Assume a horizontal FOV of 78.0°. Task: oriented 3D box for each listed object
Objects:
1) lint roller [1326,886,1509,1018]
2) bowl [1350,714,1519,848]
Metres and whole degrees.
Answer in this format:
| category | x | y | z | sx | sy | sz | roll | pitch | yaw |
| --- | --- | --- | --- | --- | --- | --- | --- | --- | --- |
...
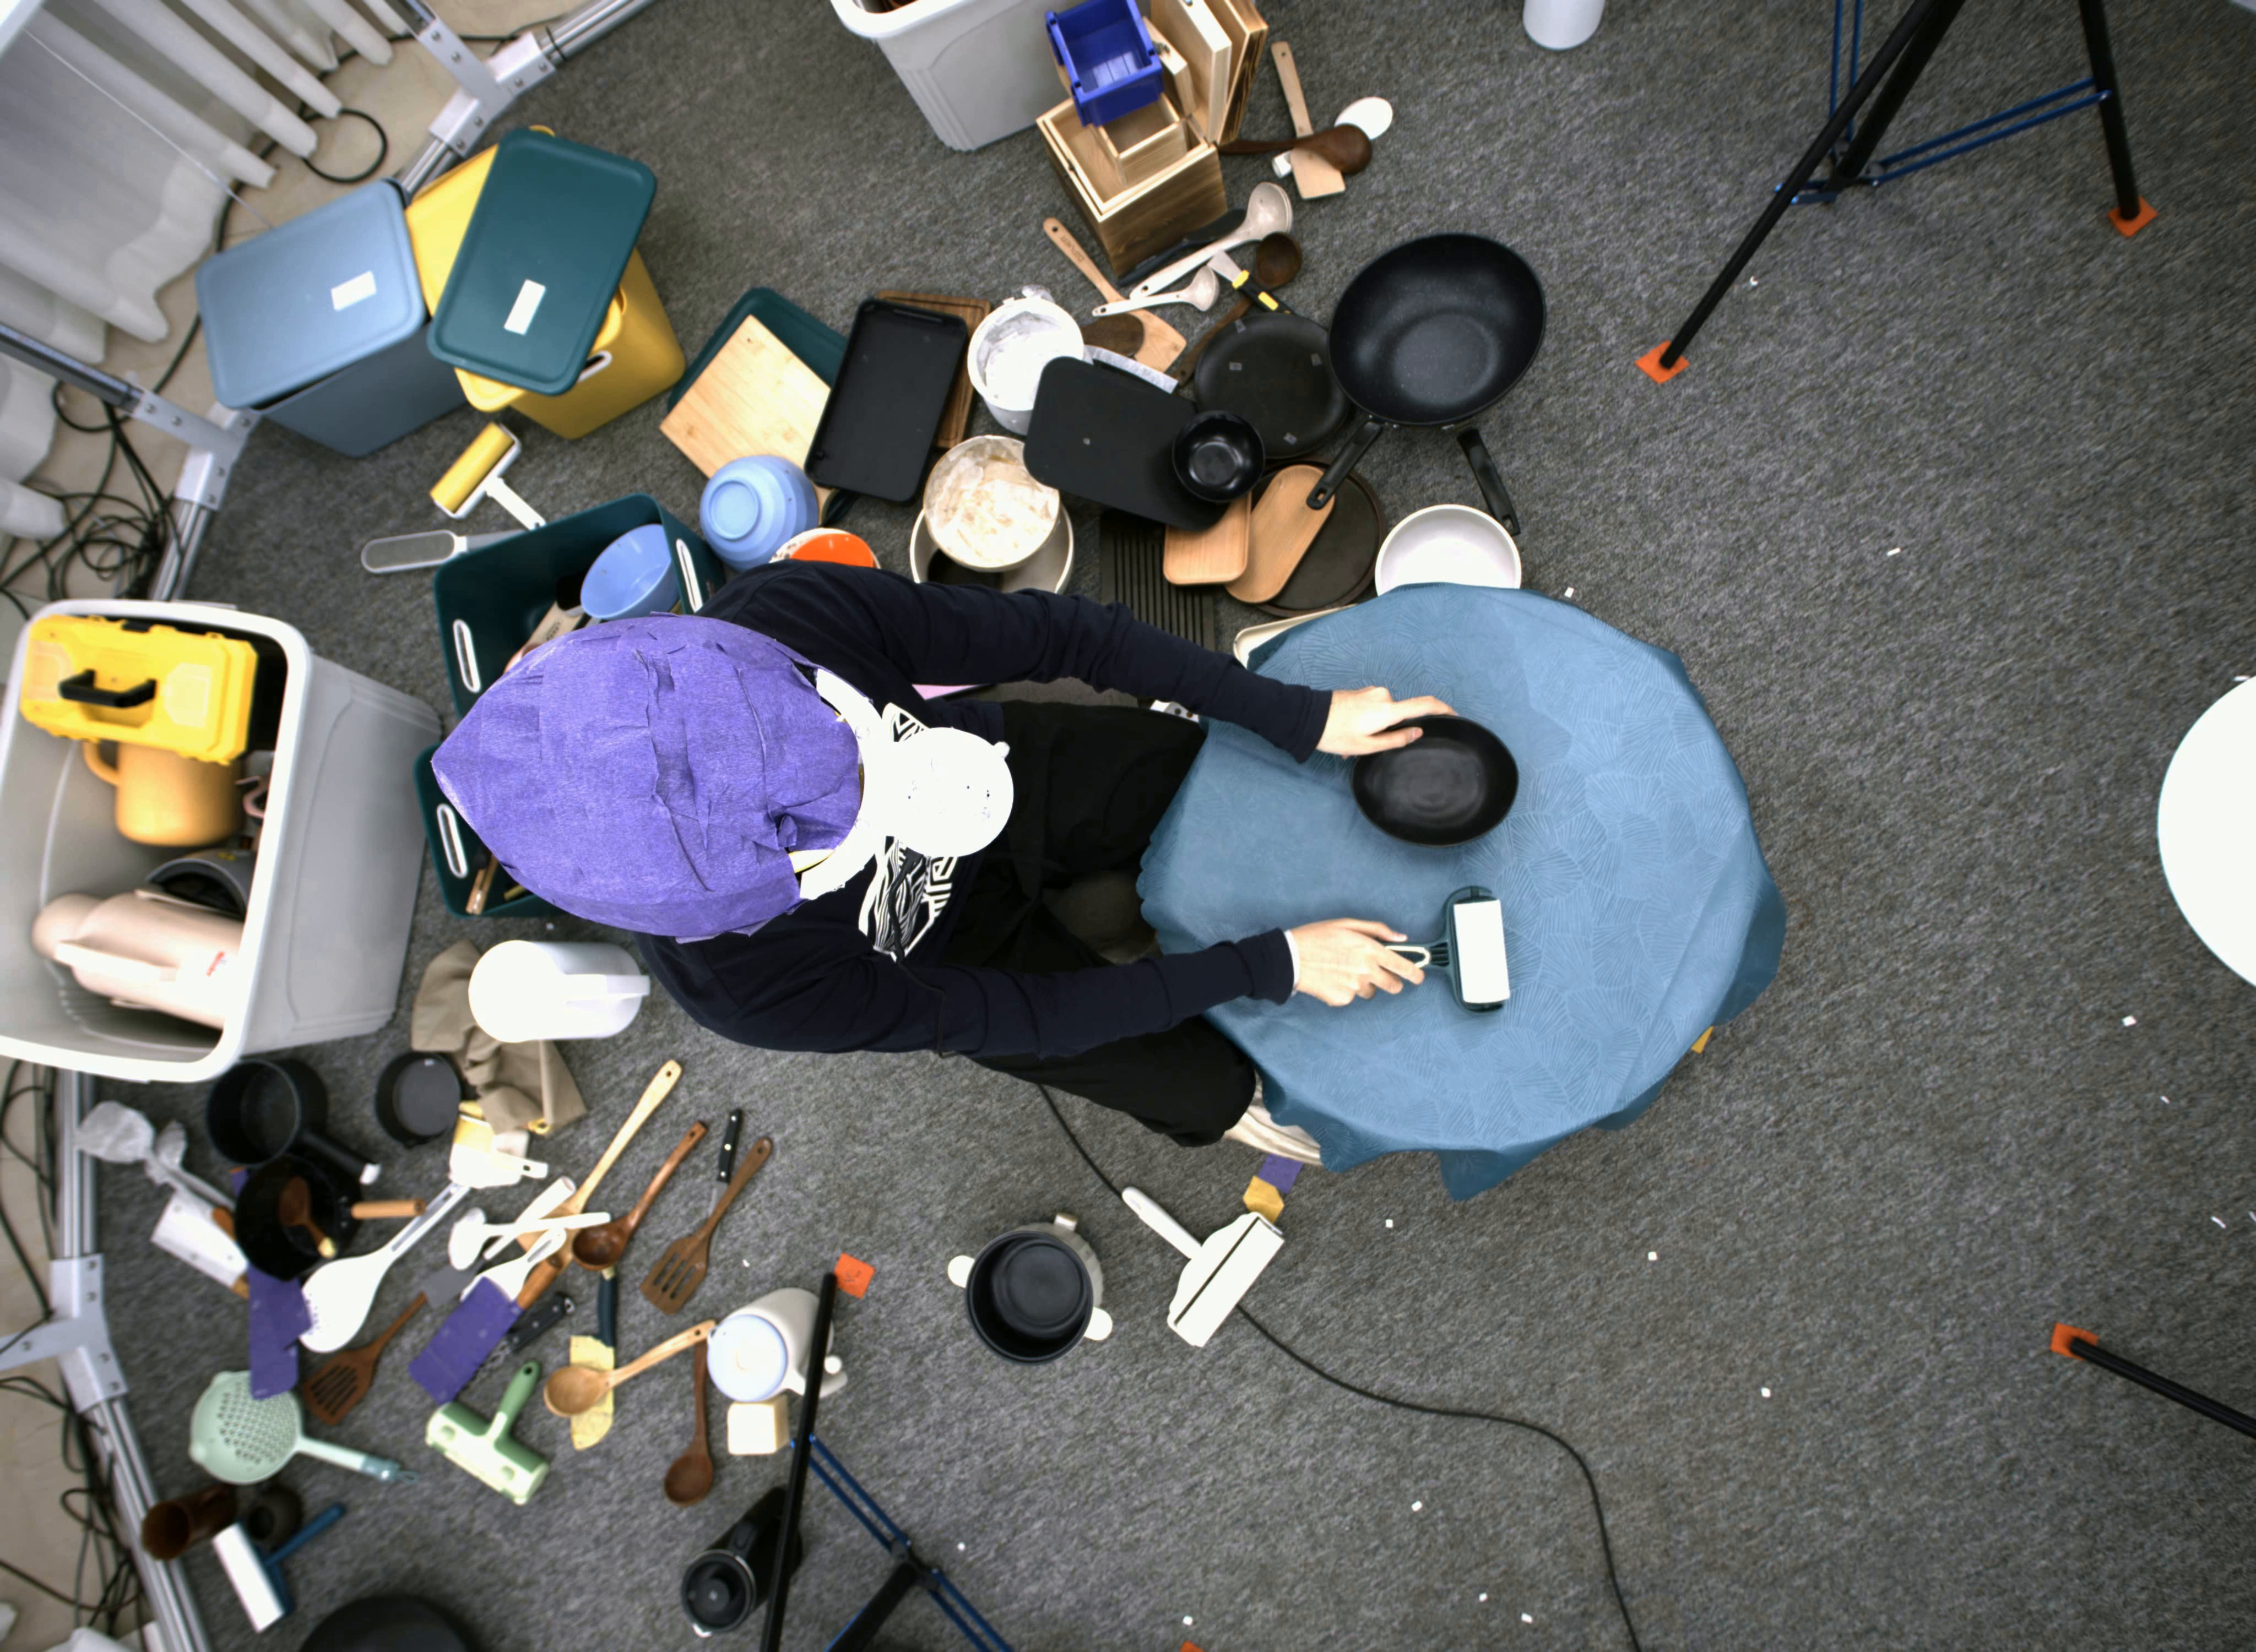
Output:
| category | x | y | z | sx | sy | sz | roll | pitch | yaw |
| --- | --- | --- | --- | --- | --- | --- | --- | --- | --- |
| lint roller | 0.294 | 0.134 | 1.411 | 0.180 | 0.048 | 0.135 | -7 | 95 | 3 |
| bowl | 0.316 | -0.045 | 1.425 | 0.171 | 0.067 | 0.137 | 1 | 86 | 12 |
